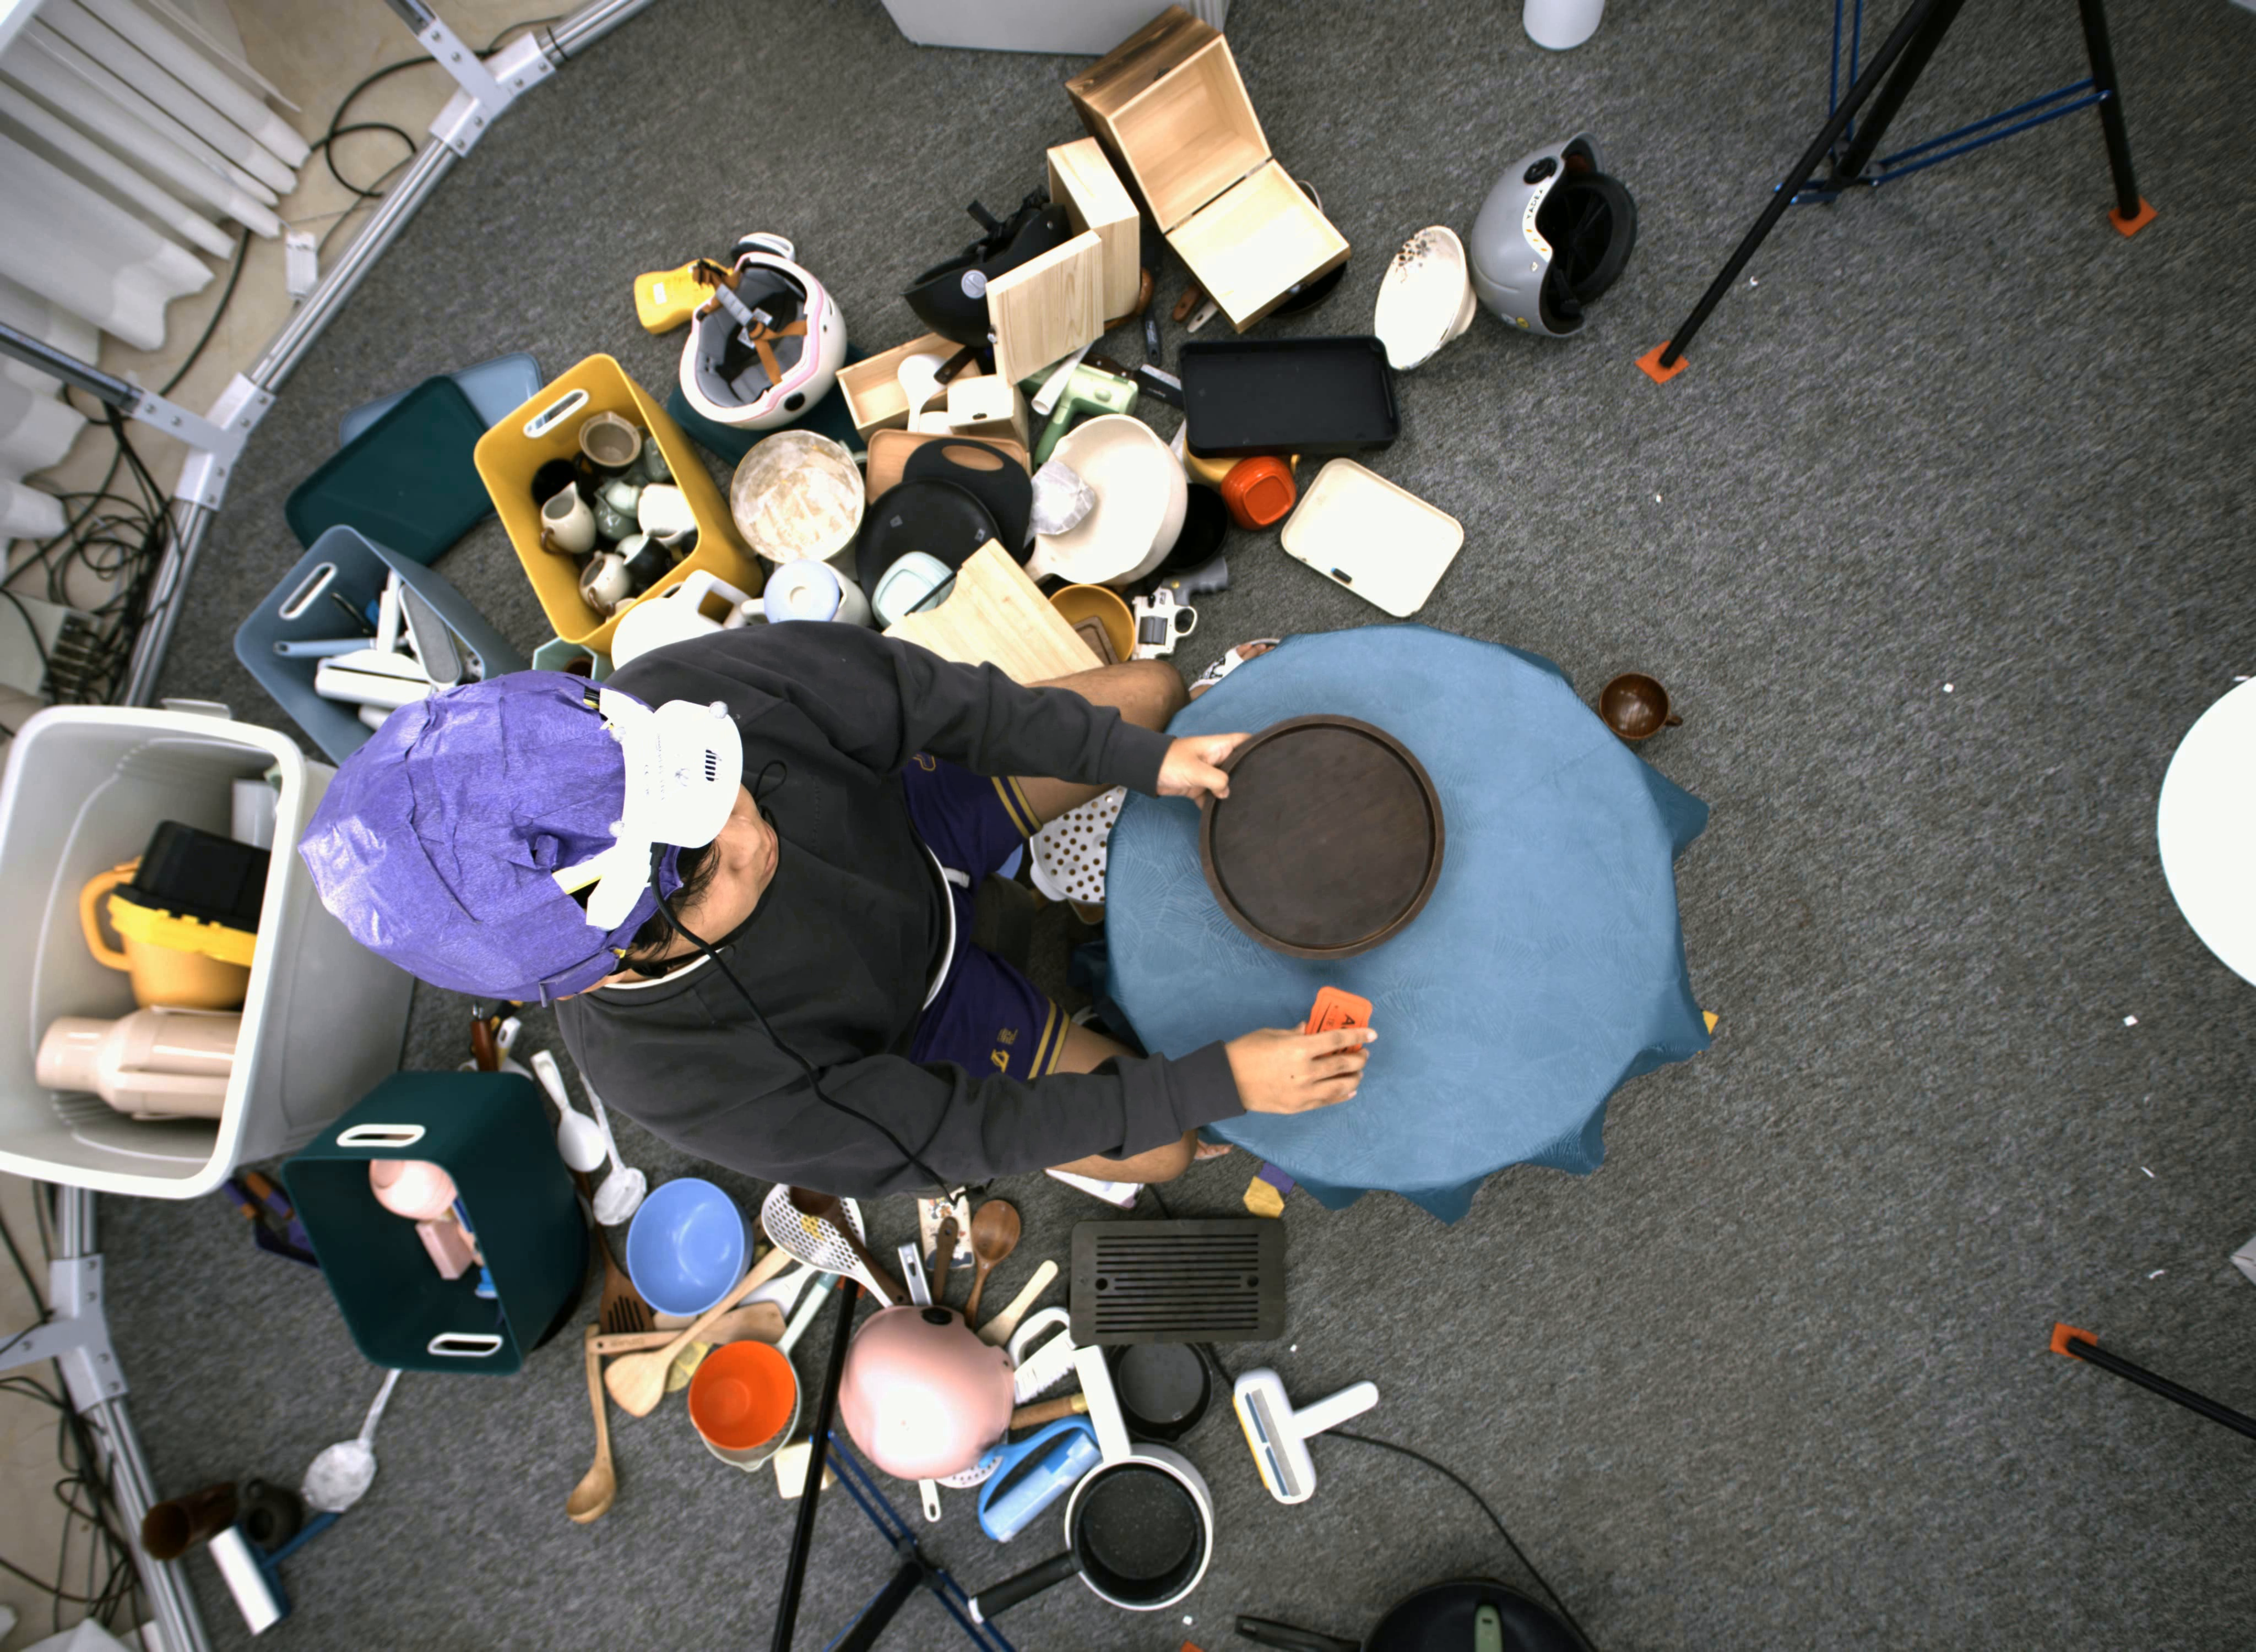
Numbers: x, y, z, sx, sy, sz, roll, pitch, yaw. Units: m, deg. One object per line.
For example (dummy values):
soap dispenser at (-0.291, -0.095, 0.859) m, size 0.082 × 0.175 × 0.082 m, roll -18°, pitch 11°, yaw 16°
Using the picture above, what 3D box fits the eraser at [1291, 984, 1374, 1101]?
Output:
eraser at (0.204, 0.215, 1.387) m, size 0.059 × 0.023 × 0.108 m, roll 18°, pitch 95°, yaw 7°

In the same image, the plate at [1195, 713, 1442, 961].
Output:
plate at (0.194, 0.010, 1.413) m, size 0.255 × 0.029 × 0.255 m, roll 0°, pitch 95°, yaw 0°
